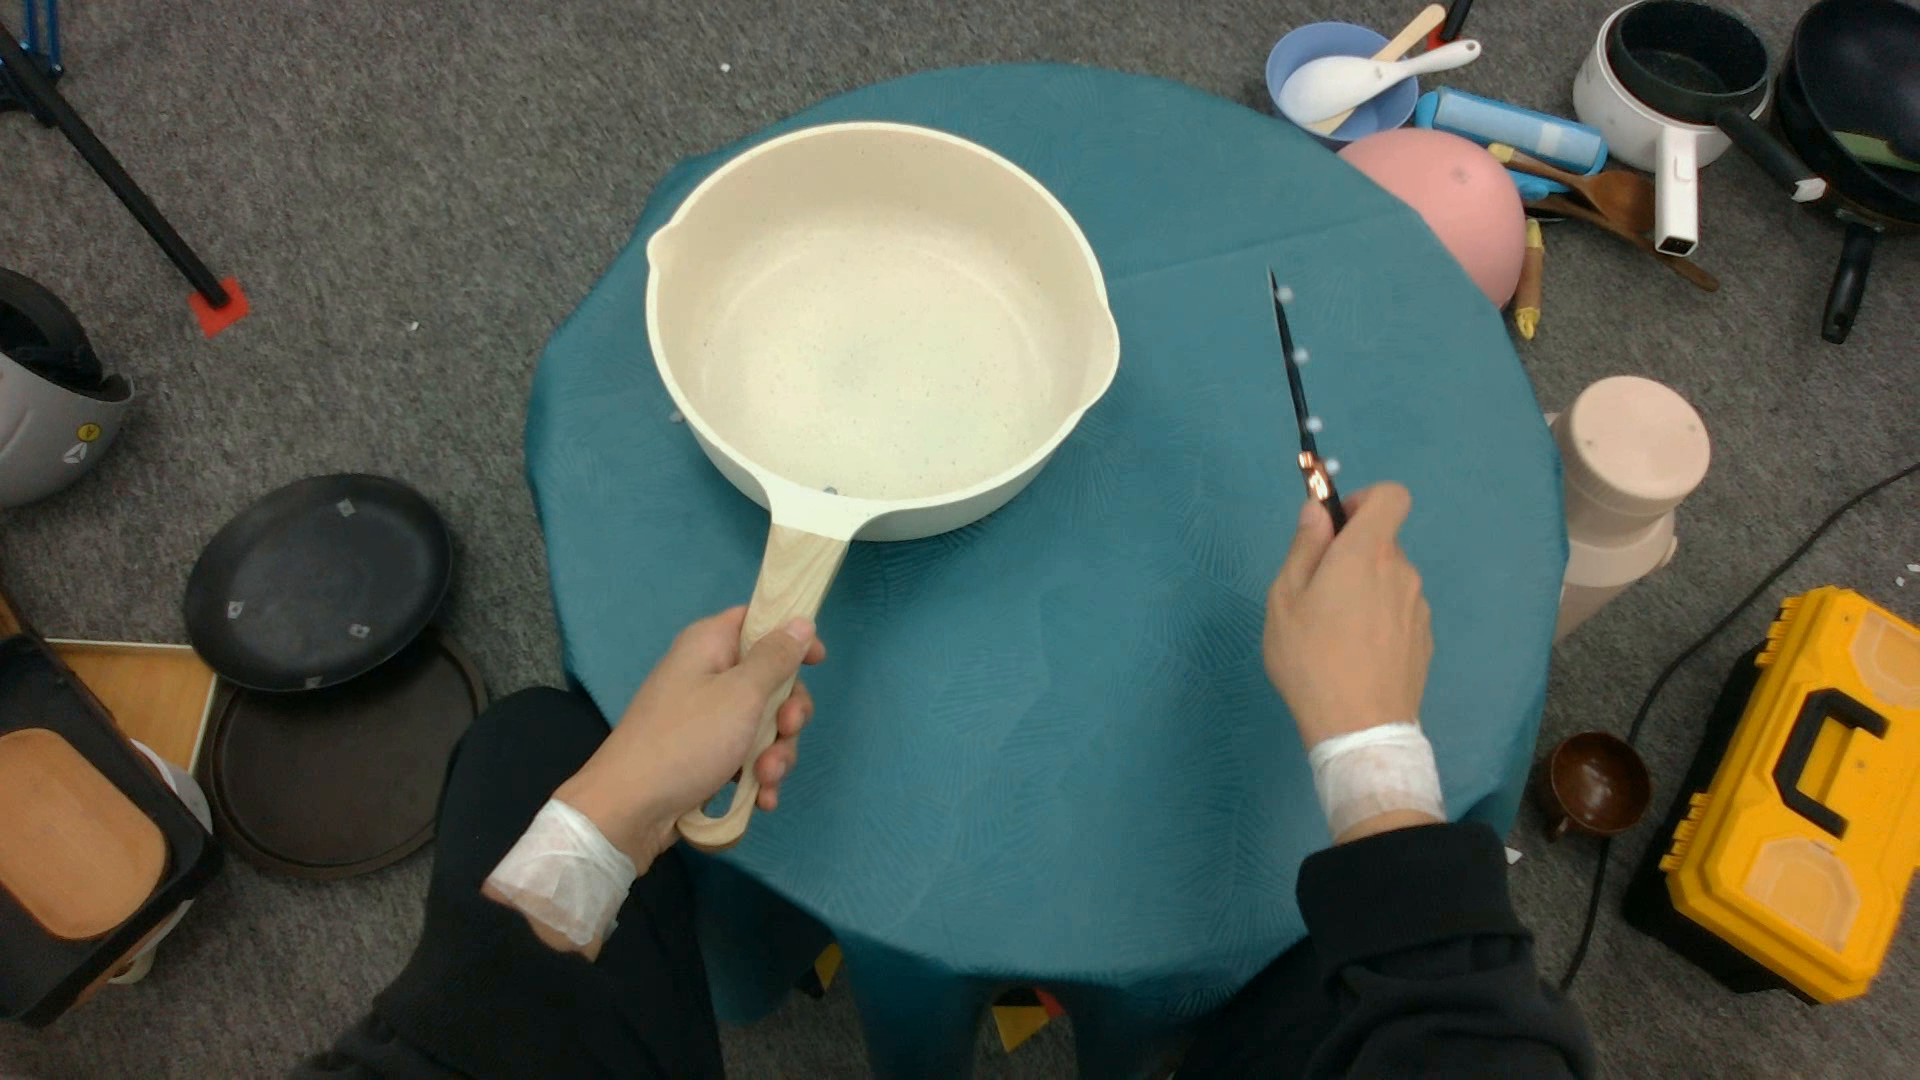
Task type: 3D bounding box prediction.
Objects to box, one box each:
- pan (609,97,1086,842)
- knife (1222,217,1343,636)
[{"bbox_3d":[-0.083,-0.046,0.733,0.263,0.101,0.436,14,64,-3],"label":"pan"},{"bbox_3d":[0.165,-0.061,0.709,0.026,0.017,0.226,-1,76,-46],"label":"knife"}]
